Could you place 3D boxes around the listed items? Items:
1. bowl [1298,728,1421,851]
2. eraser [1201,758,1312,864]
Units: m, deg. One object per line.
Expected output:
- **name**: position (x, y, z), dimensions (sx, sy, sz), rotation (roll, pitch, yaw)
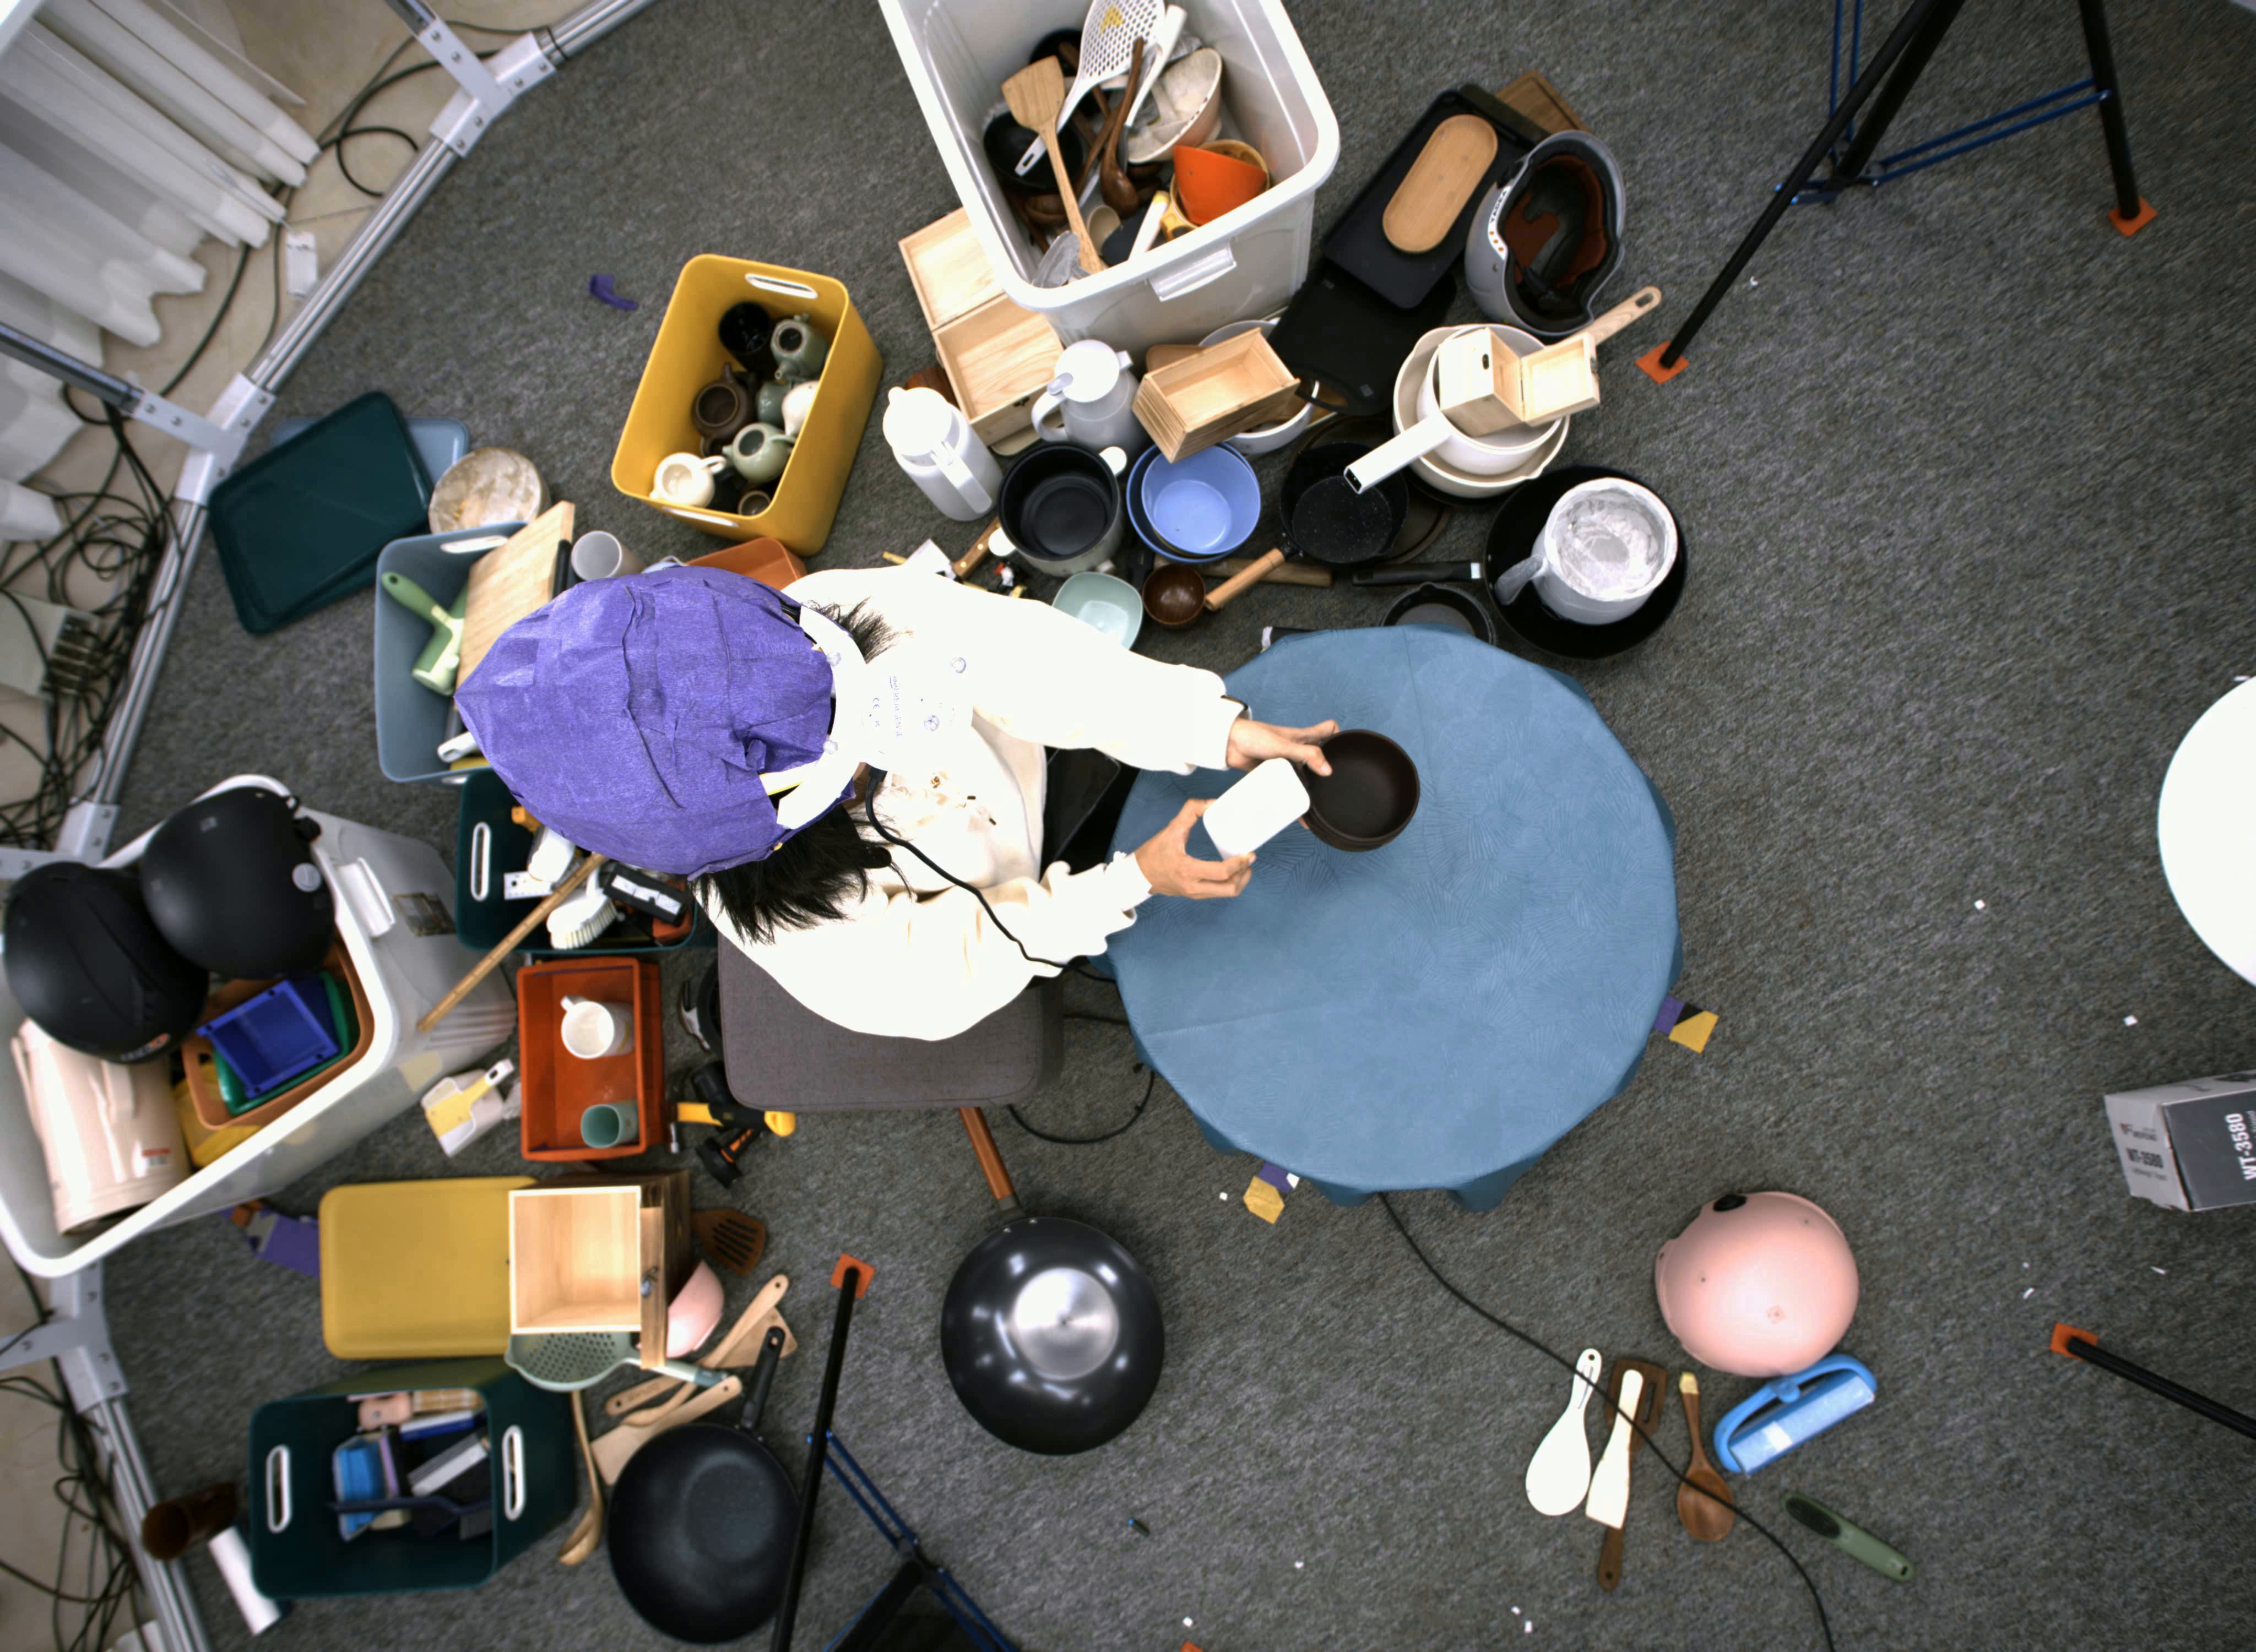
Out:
- **bowl**: position (0.220, -0.031, 1.342), dimensions (0.118, 0.071, 0.116), rotation (1, 72, -5)
- **eraser**: position (0.121, -0.016, 1.339), dimensions (0.134, 0.034, 0.063), rotation (-40, 75, 48)
